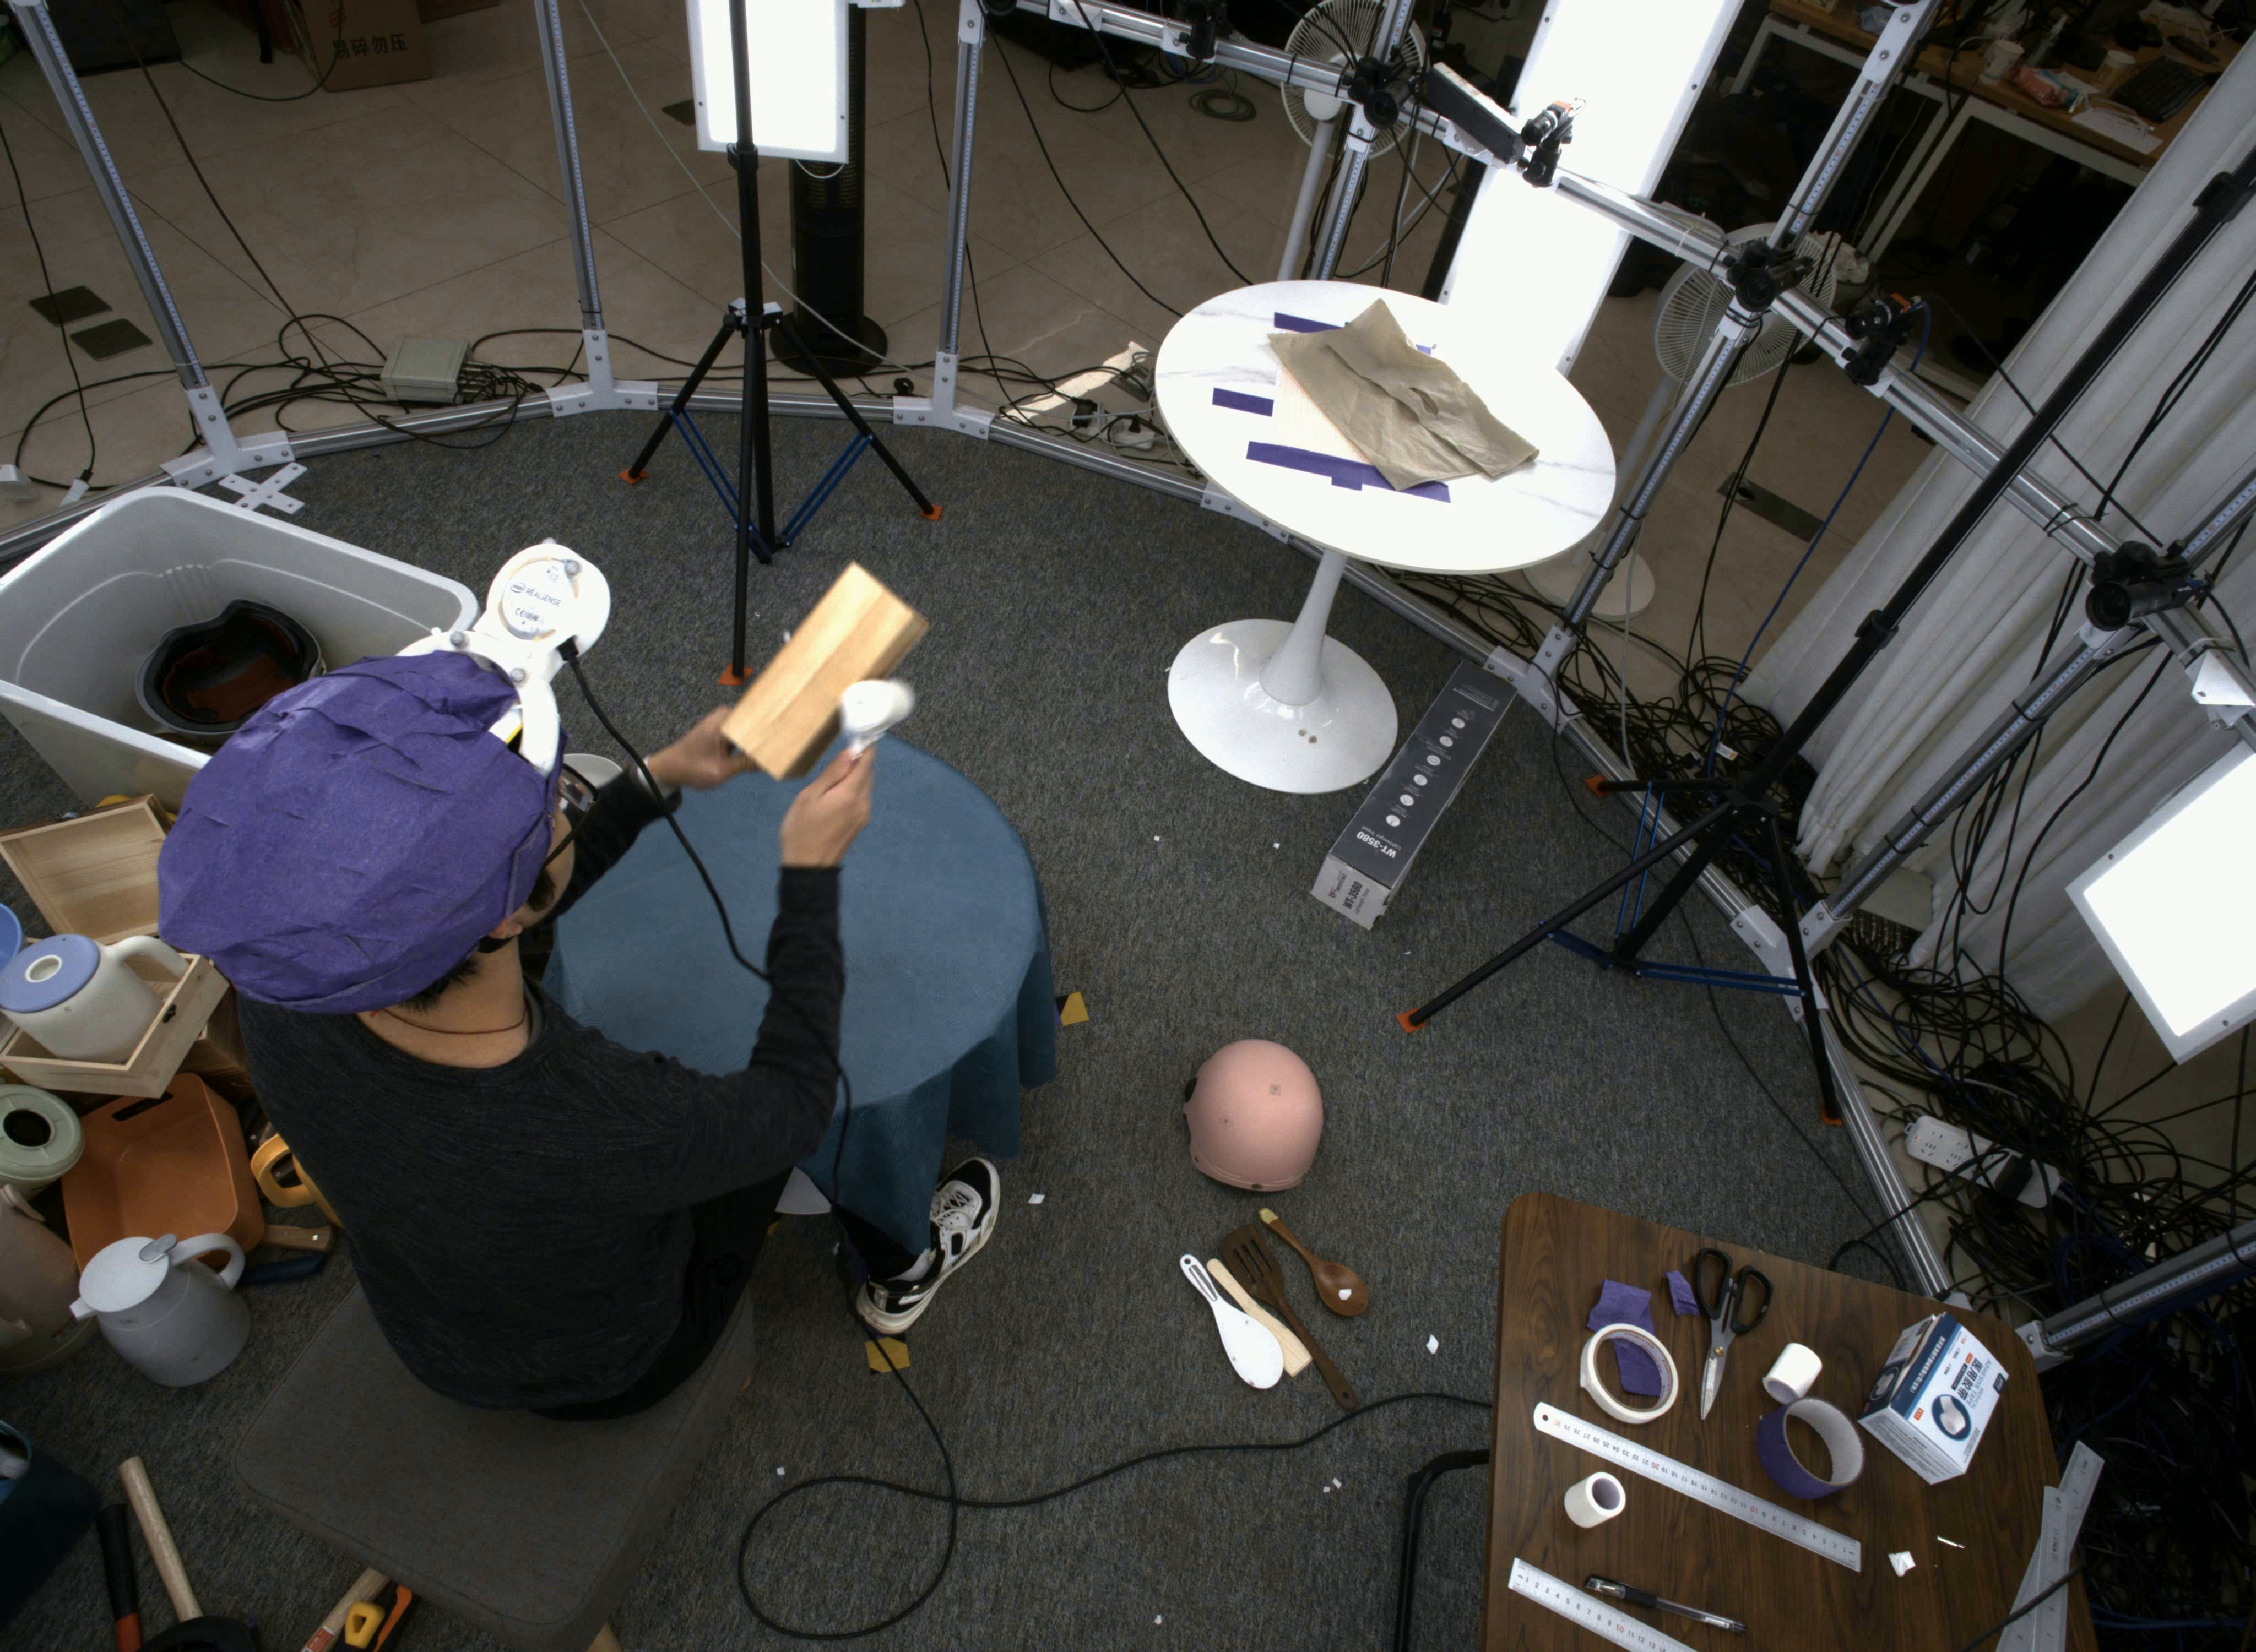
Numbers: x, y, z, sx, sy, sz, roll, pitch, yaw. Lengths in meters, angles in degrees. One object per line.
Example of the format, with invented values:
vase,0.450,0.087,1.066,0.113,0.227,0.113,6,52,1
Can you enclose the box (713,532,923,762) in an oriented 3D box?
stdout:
box,-0.306,-0.172,1.288,0.080,0.107,0.212,38,92,-2

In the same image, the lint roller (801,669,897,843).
lint roller,-0.279,-0.066,1.278,0.050,0.132,0.183,16,96,0
